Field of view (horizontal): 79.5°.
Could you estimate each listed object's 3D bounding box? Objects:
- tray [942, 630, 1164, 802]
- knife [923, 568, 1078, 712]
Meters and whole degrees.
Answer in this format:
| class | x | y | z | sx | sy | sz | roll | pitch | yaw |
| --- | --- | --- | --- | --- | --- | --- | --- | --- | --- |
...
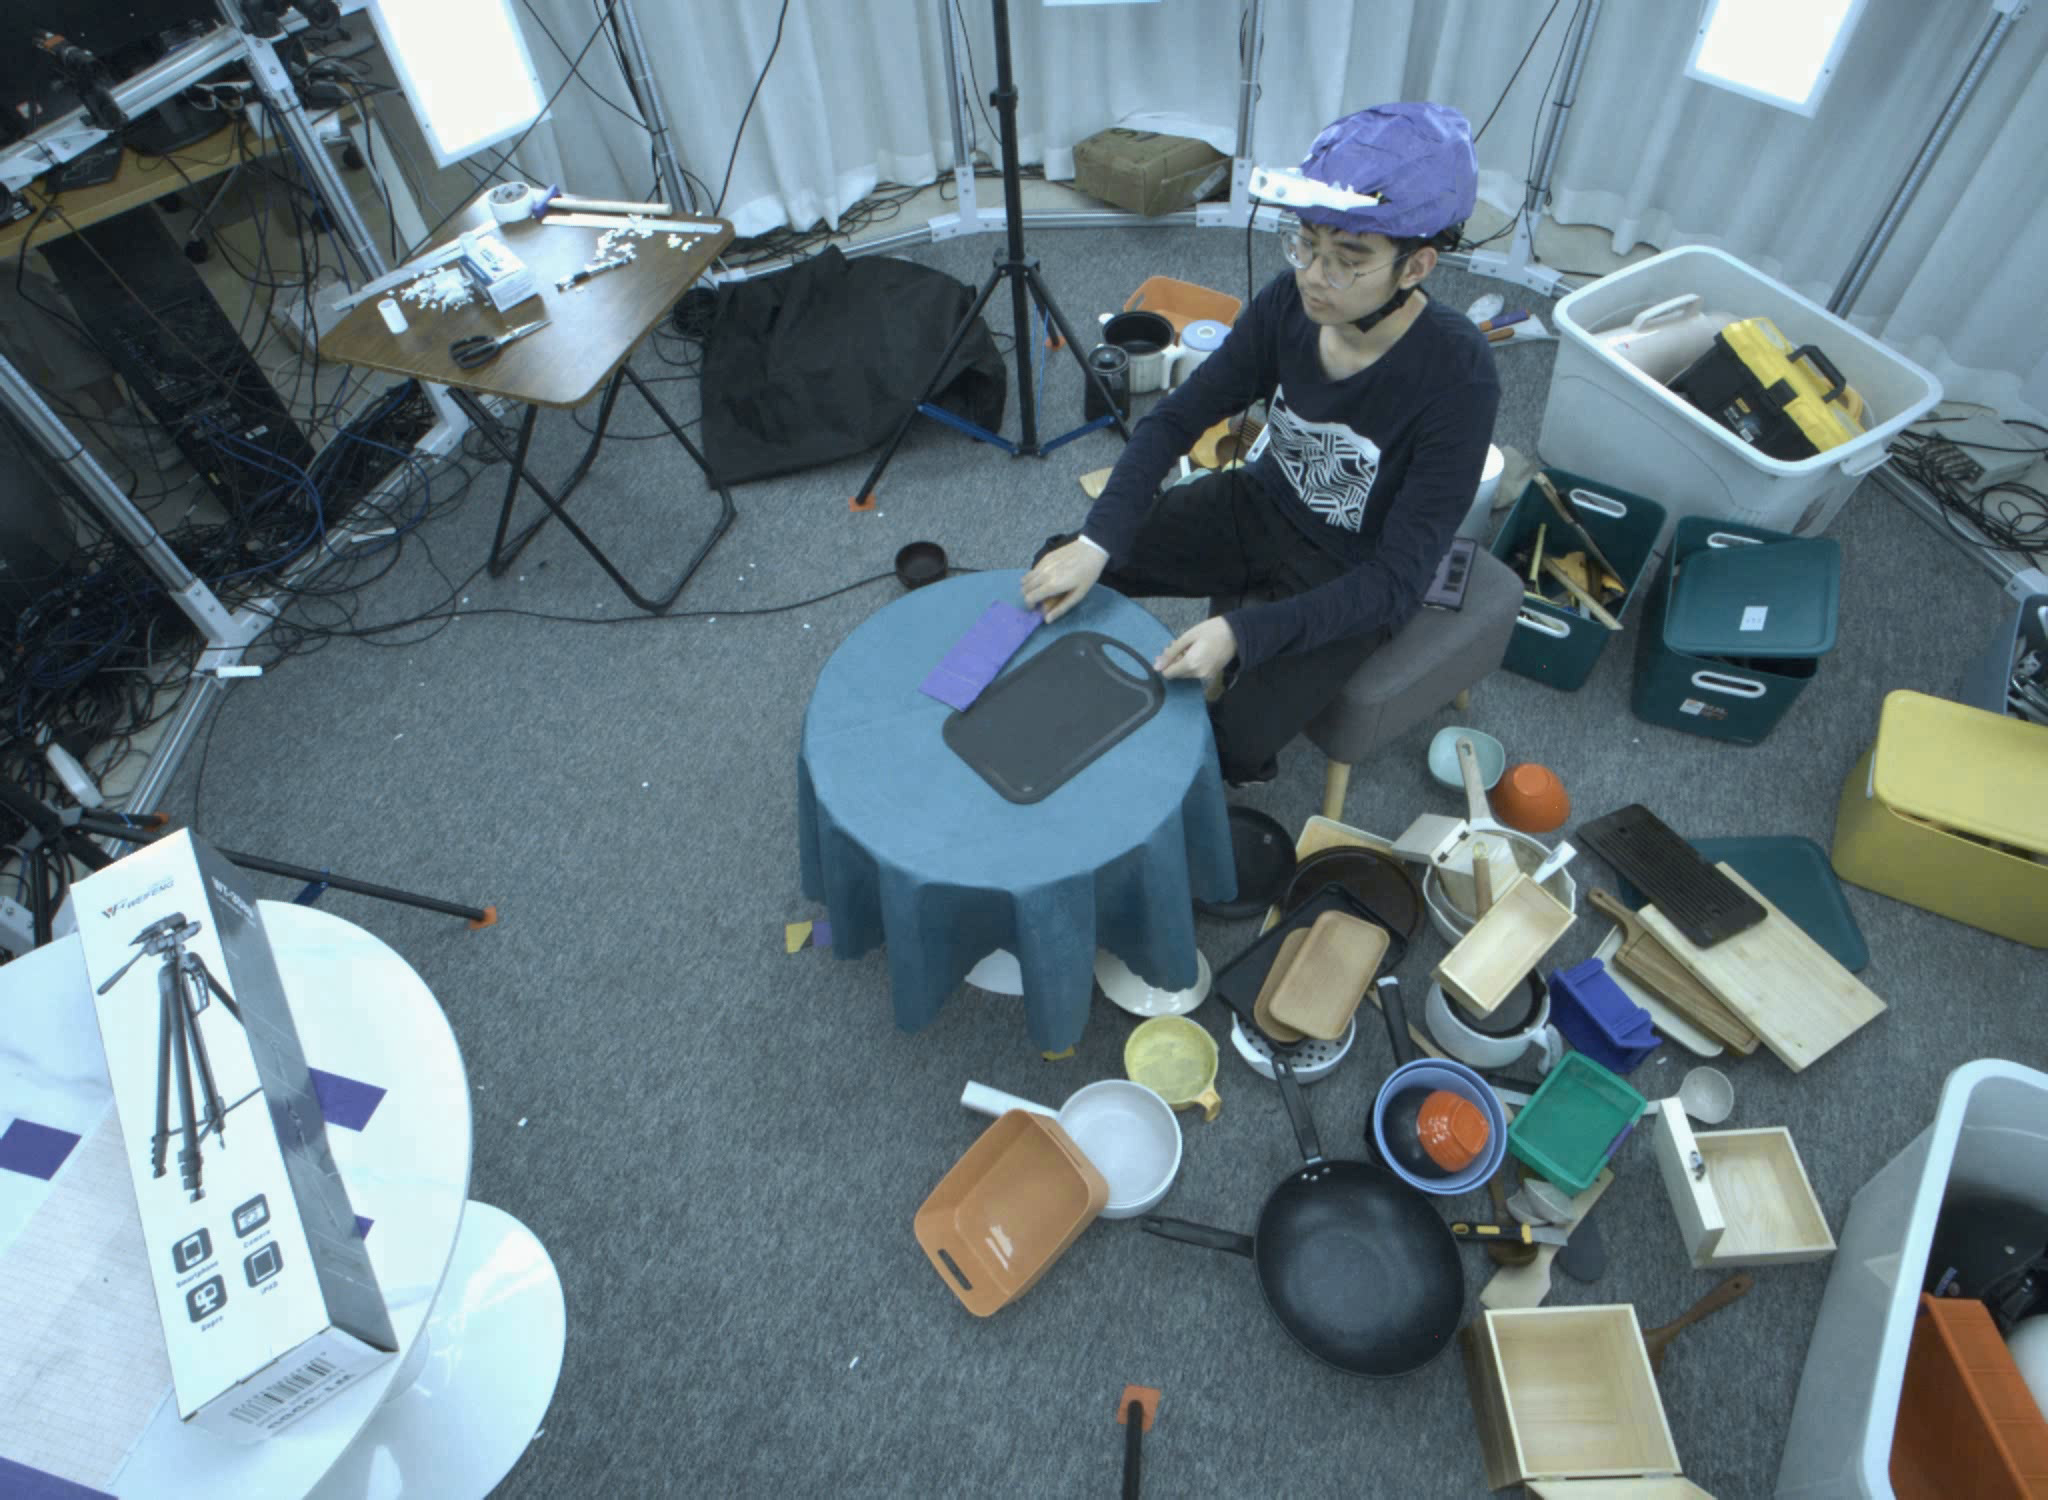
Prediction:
| class | x | y | z | sx | sy | sz | roll | pitch | yaw |
| --- | --- | --- | --- | --- | --- | --- | --- | --- | --- |
| tray | 0.049 | -0.063 | 1.834 | 0.328 | 0.010 | 0.207 | -36 | 61 | -22 |
| knife | -0.038 | -0.186 | 1.909 | 0.102 | 0.032 | 0.316 | 28 | 61 | 22 |
